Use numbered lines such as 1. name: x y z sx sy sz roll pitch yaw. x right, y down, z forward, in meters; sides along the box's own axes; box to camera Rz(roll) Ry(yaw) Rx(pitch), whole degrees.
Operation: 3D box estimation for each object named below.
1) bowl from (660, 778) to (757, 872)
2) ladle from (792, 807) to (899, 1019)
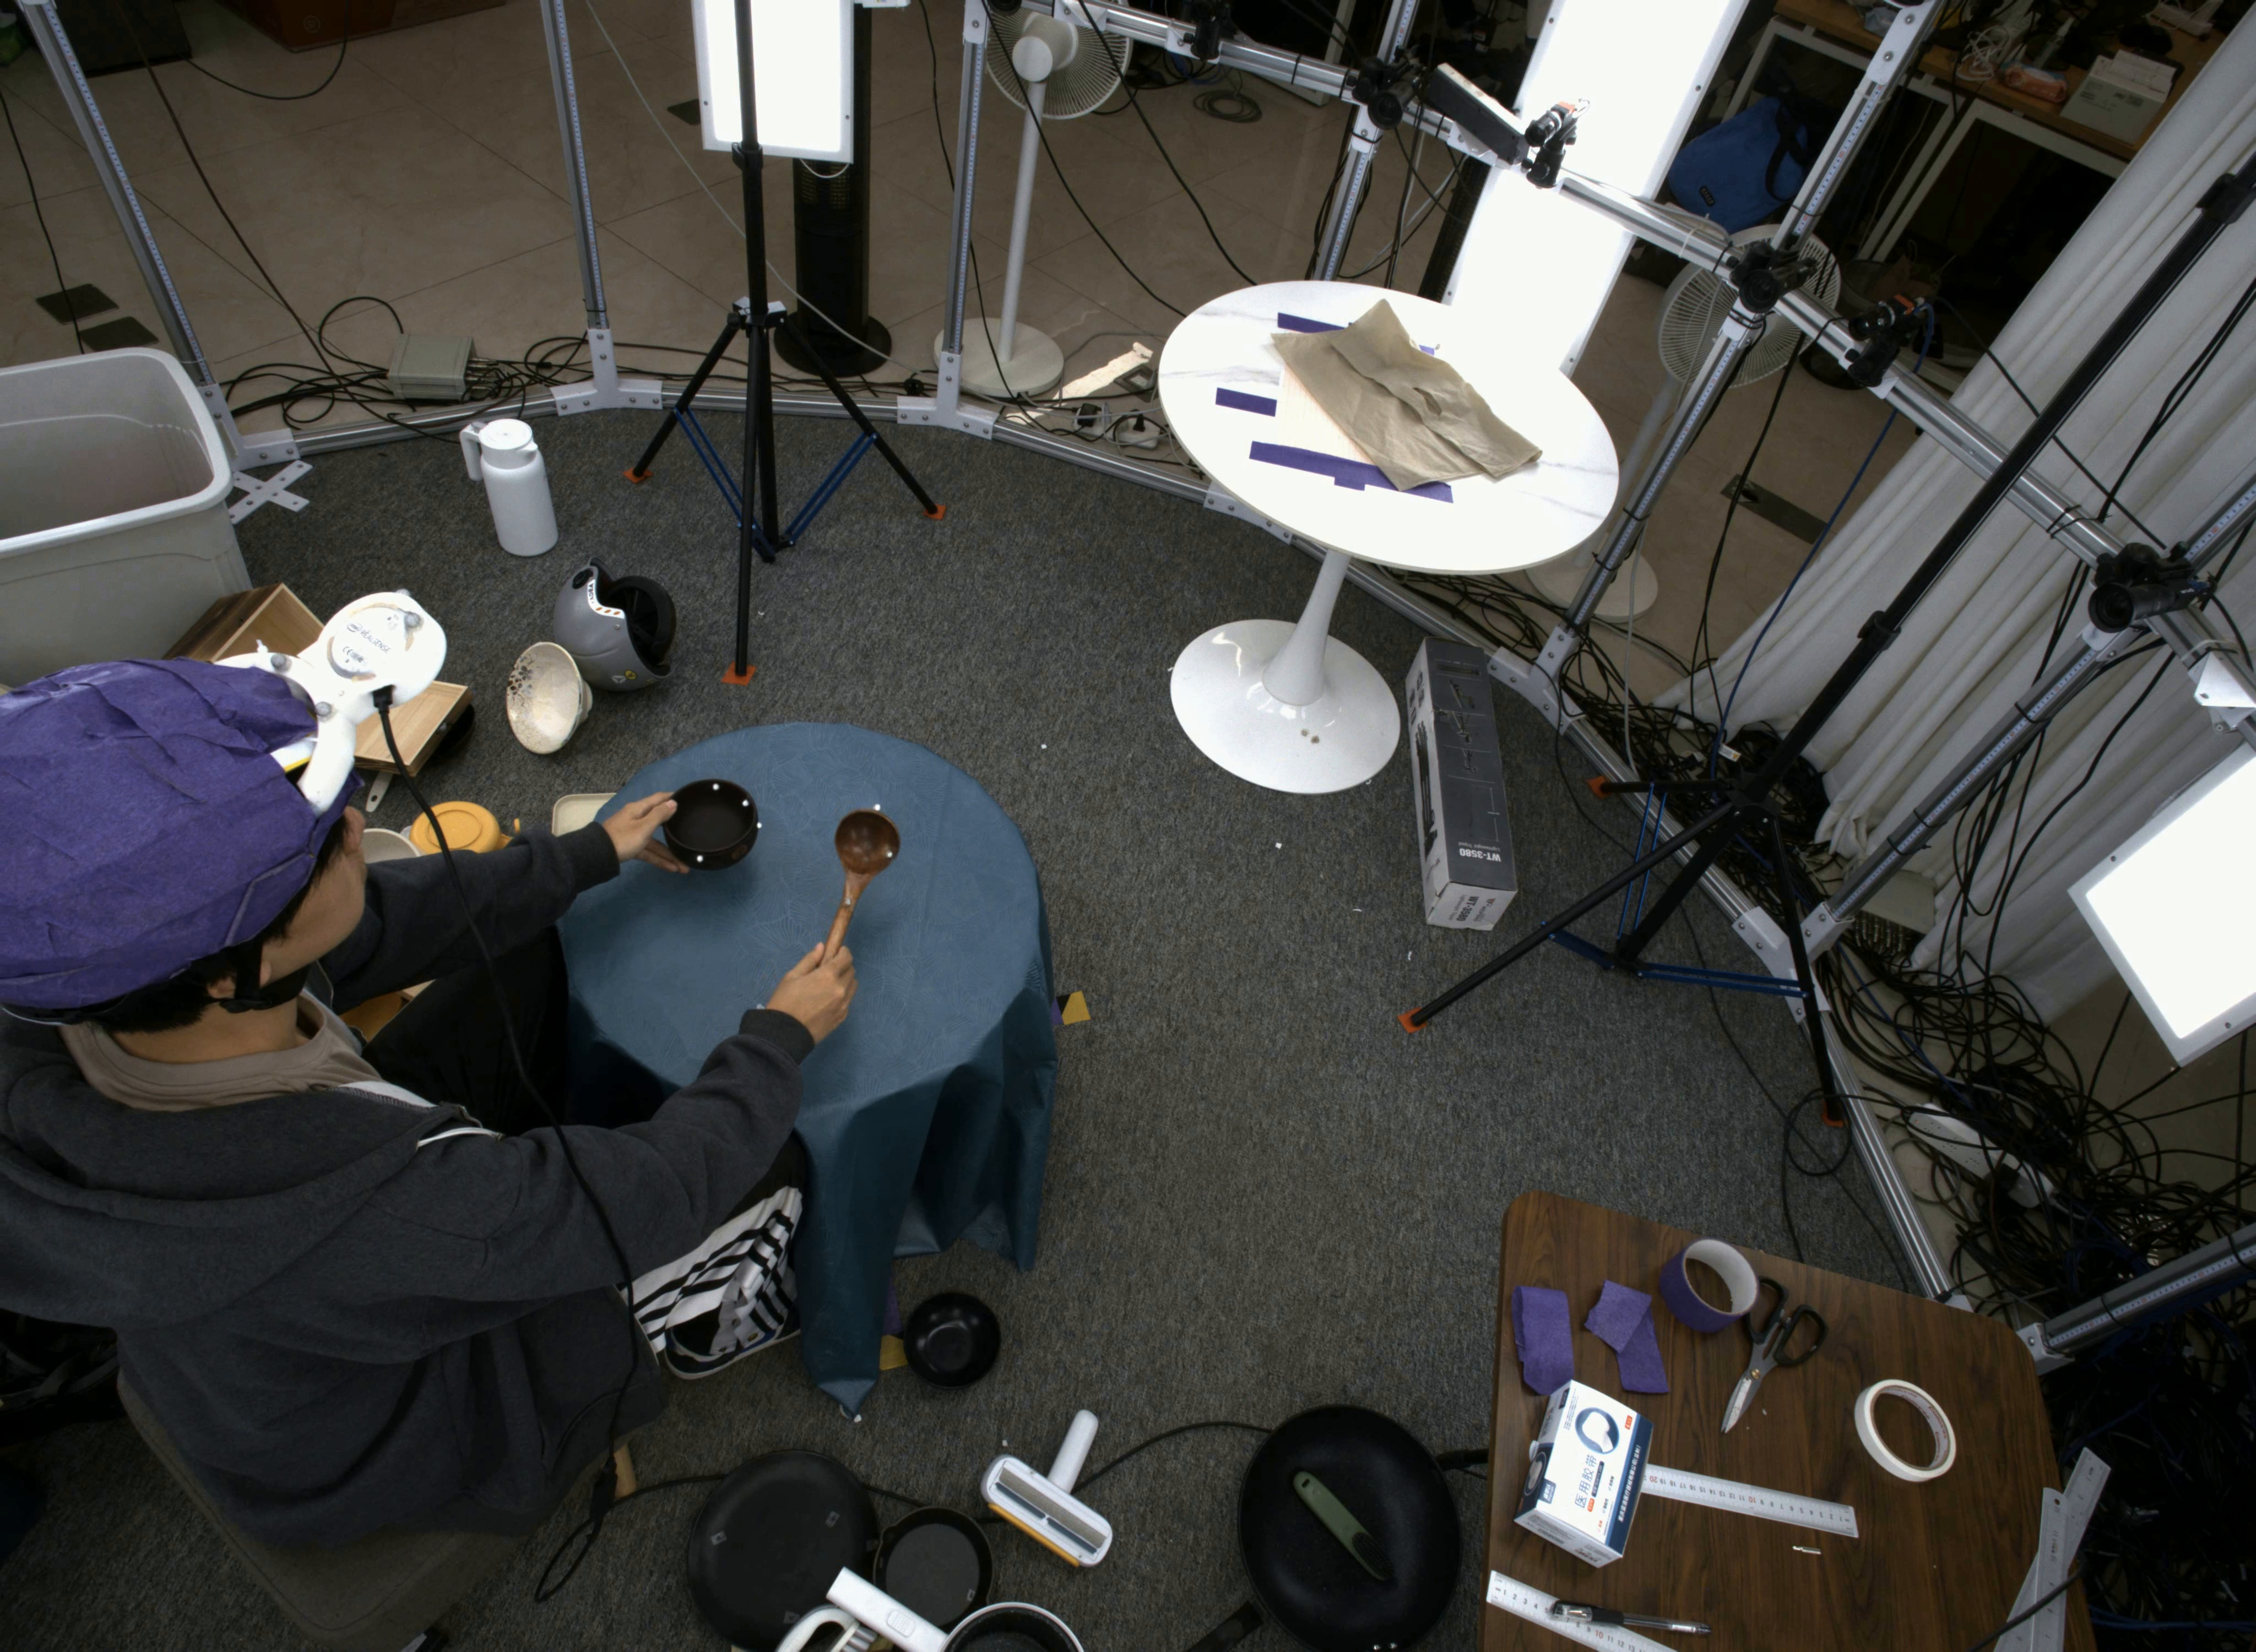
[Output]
1. bowl: -0.523 0.005 1.616 0.118 0.071 0.116 8 52 -8
2. ladle: -0.338 0.093 1.528 0.081 0.078 0.270 14 49 -2
